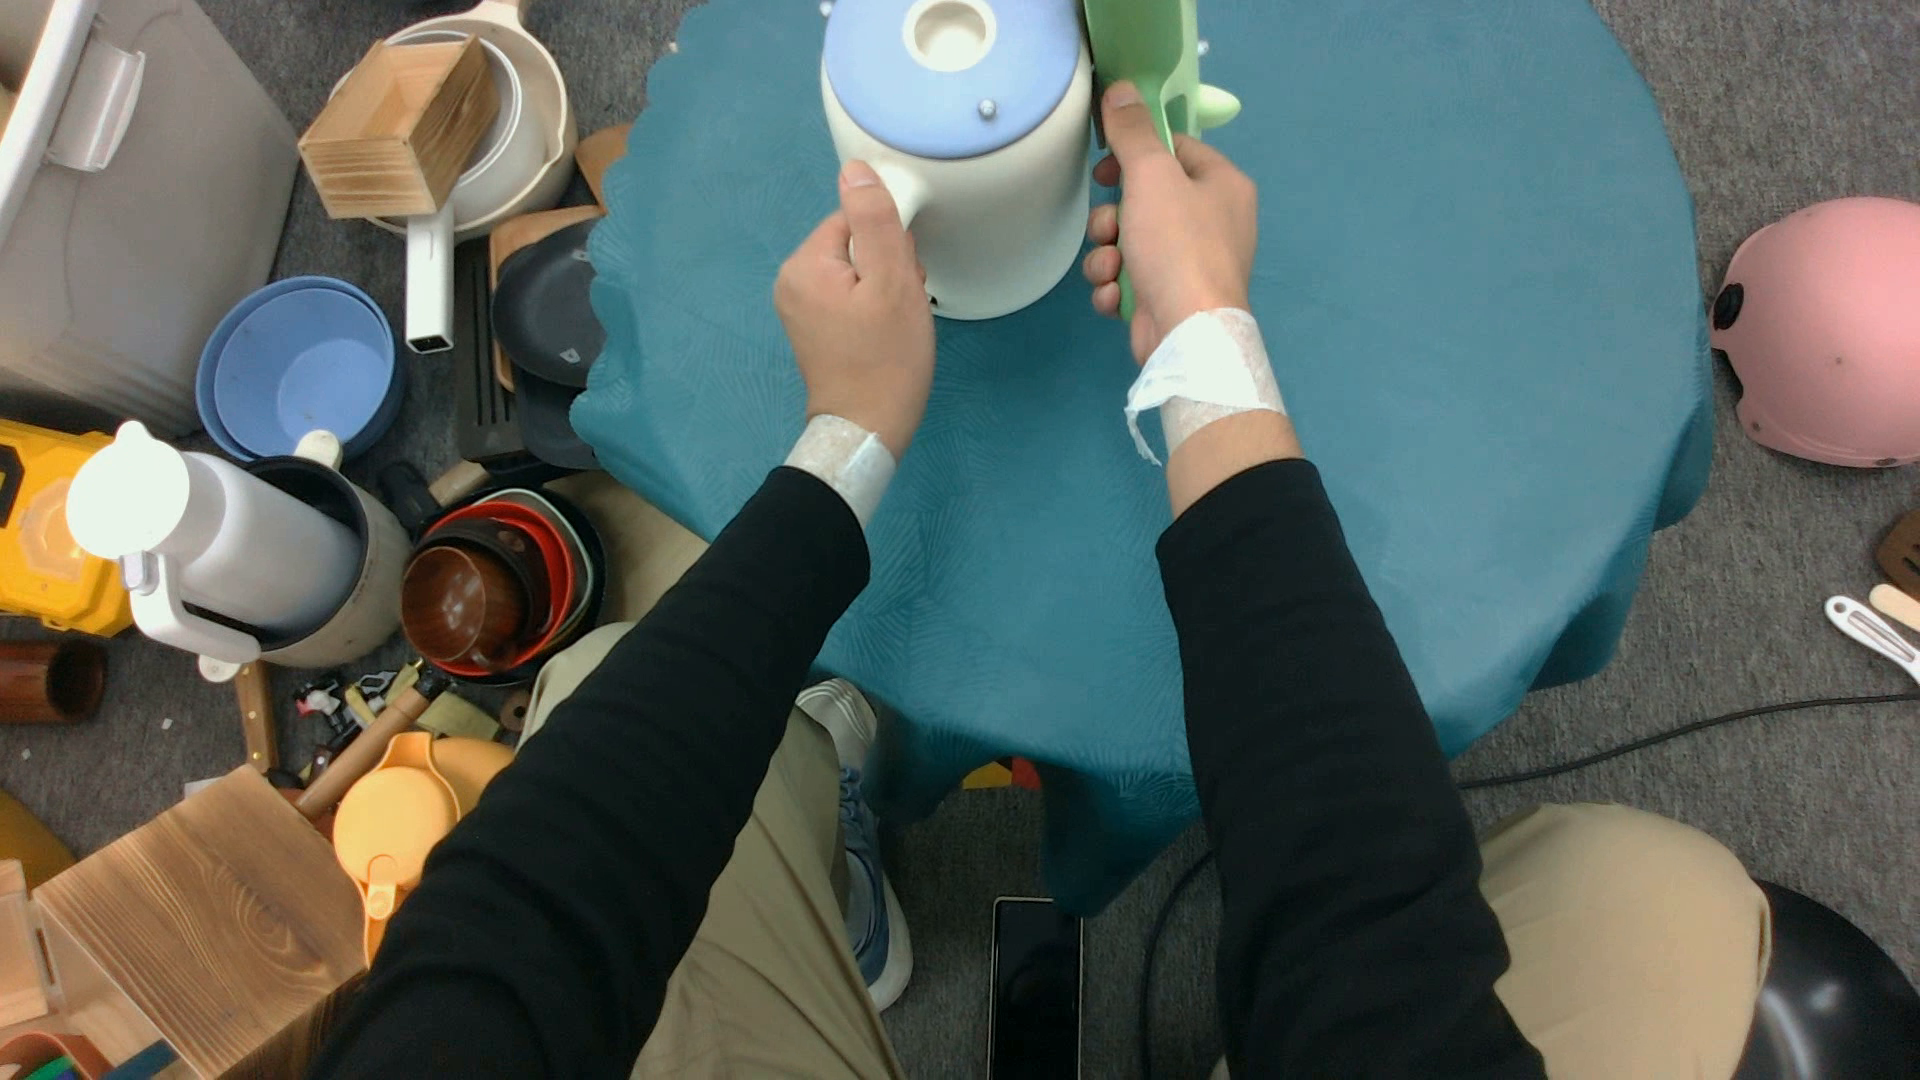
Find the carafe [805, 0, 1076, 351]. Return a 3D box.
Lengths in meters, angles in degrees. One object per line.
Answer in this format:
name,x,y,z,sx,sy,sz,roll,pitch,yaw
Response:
carafe,-0.015,-0.192,0.709,0.132,0.182,0.191,20,79,10

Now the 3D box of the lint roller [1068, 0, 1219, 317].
lint roller,0.095,-0.199,0.667,0.082,0.198,0.183,-10,76,7
